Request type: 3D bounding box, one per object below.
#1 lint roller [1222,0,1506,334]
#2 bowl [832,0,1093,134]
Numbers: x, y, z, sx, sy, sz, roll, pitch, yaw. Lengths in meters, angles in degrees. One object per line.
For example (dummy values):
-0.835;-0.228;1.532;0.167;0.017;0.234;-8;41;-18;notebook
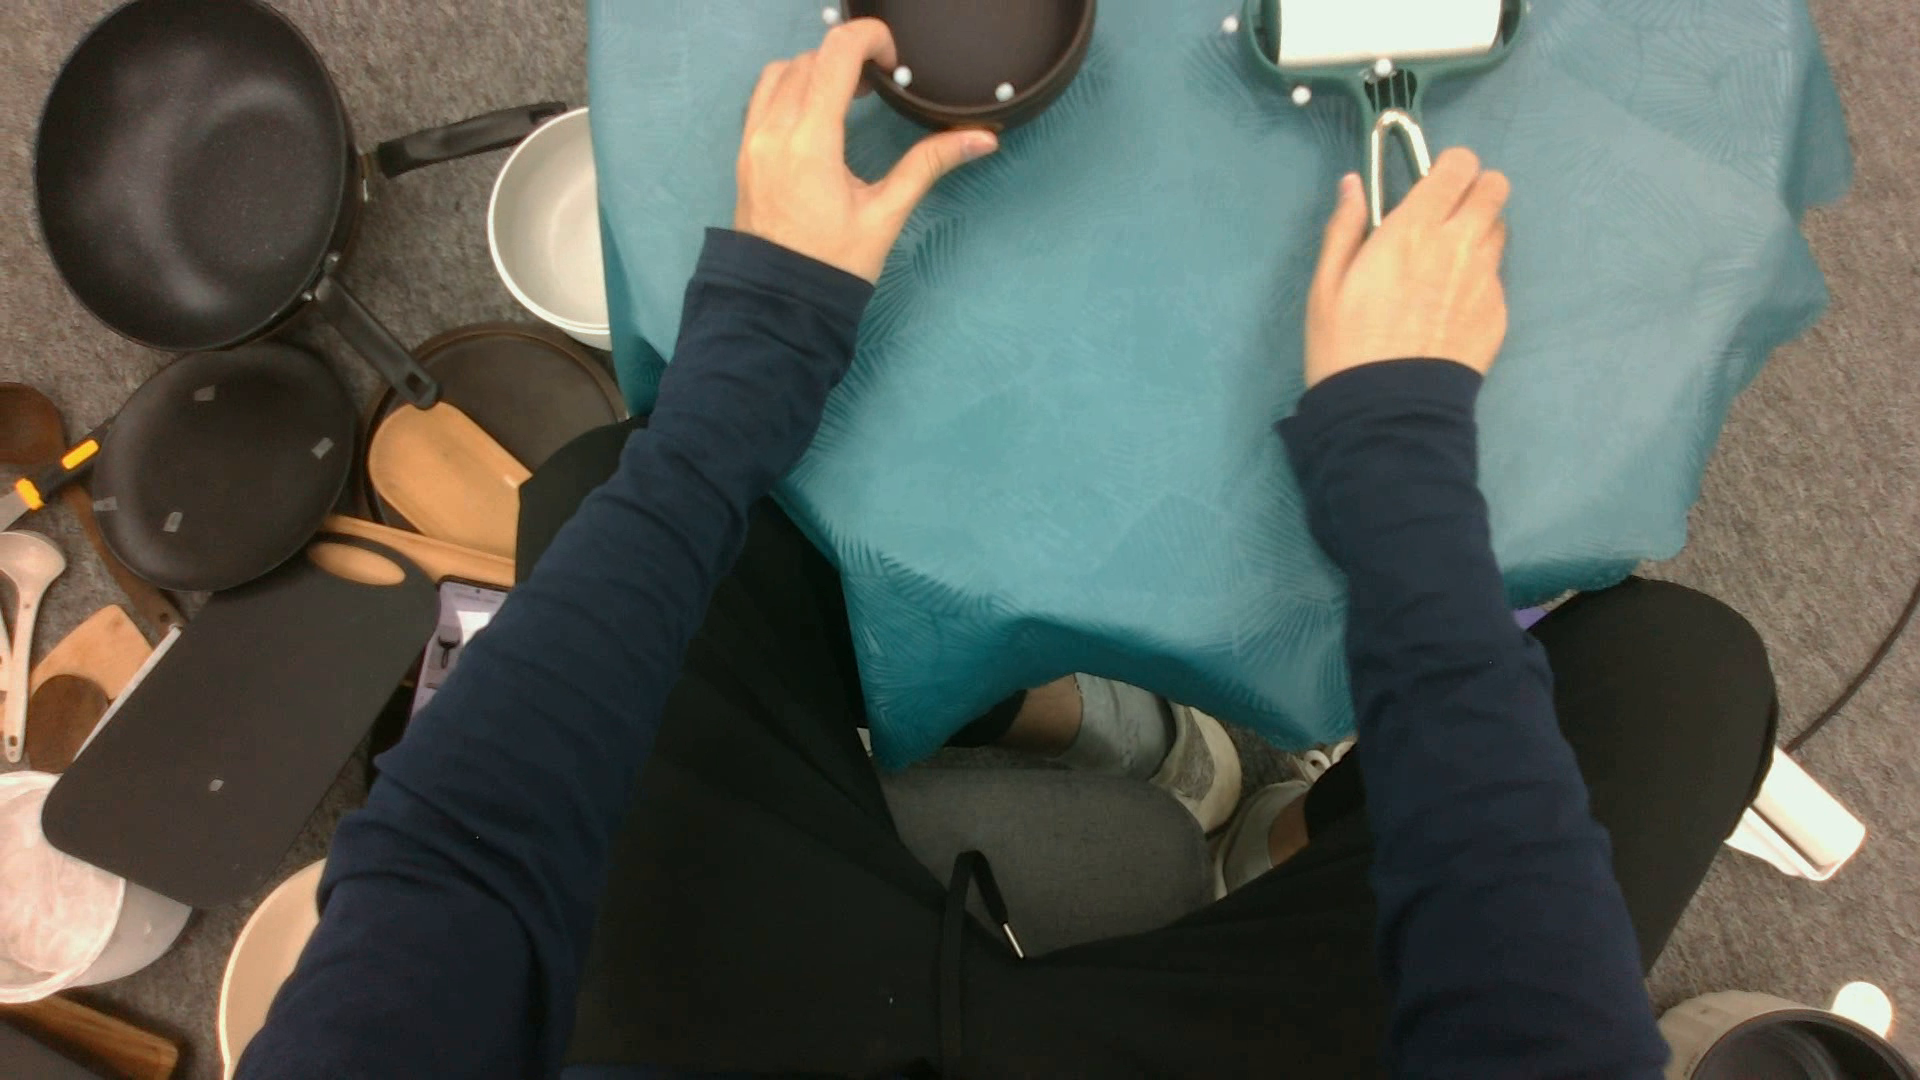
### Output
0.196;-0.185;0.636;0.134;0.048;0.180;-4;70;-3;lint roller
0.002;-0.246;0.640;0.118;0.070;0.118;0;90;3;bowl
